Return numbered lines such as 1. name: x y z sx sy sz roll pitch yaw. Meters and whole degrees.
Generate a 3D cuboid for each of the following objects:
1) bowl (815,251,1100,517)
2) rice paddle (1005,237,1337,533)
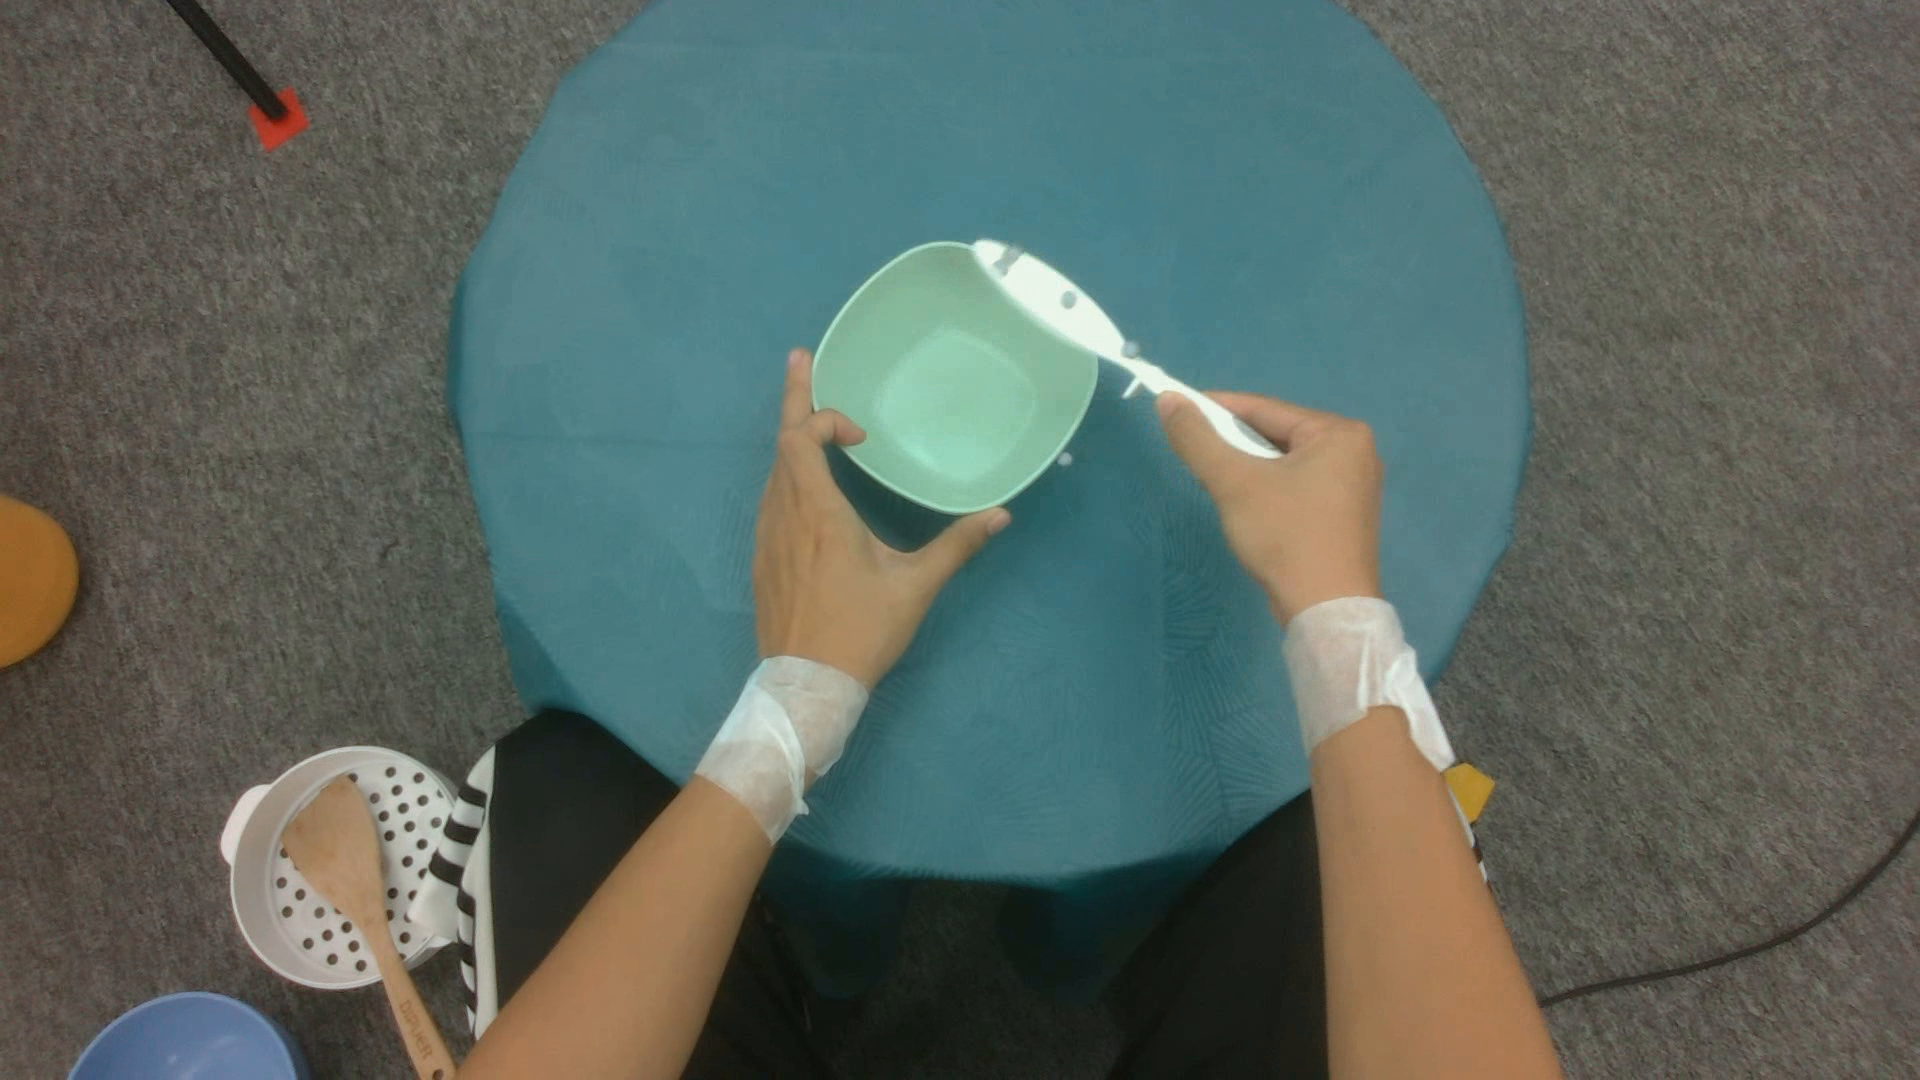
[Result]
1. bowl: -0.001 -0.077 0.751 0.151 0.058 0.152 0 73 -1
2. rice paddle: 0.098 -0.084 0.671 0.205 0.069 0.029 45 114 14
